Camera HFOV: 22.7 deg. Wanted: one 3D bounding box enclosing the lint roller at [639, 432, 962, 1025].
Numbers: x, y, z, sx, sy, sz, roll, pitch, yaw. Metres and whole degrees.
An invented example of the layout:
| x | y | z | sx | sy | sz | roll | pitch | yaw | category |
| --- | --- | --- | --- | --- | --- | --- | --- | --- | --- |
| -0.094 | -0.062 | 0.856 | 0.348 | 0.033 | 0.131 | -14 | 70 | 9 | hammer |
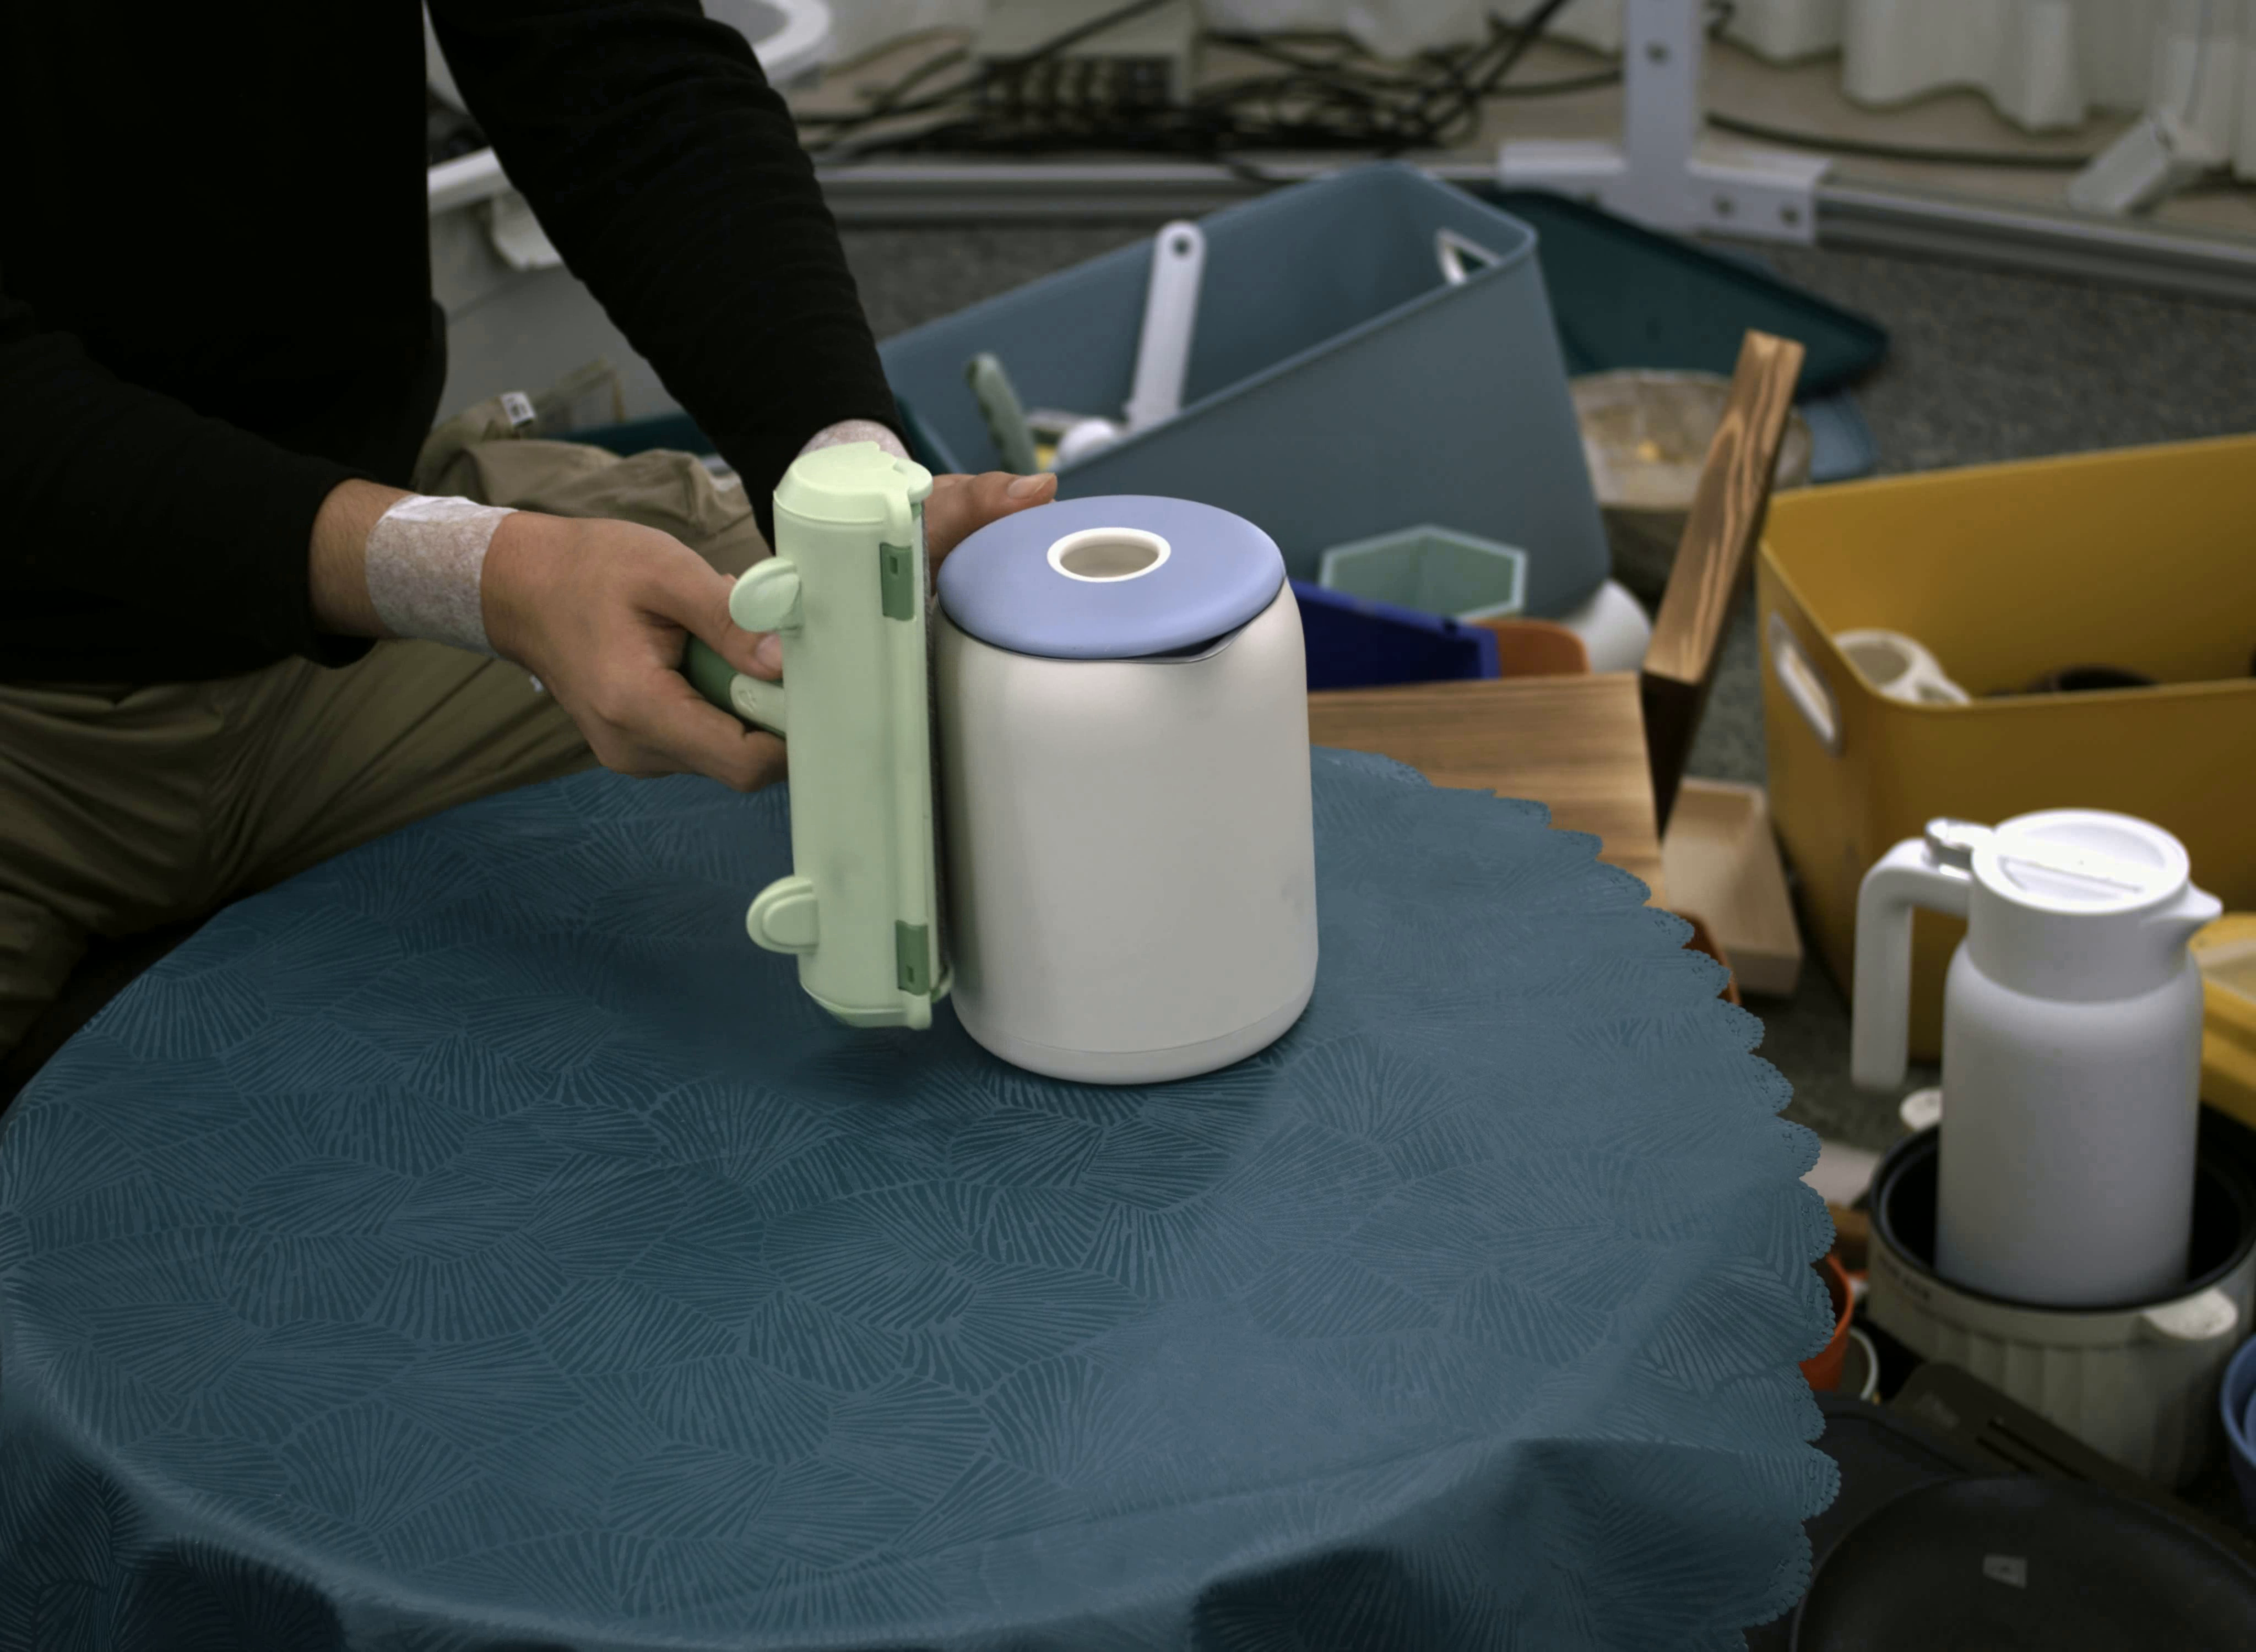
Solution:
| x | y | z | sx | sy | sz | roll | pitch | yaw | category |
| --- | --- | --- | --- | --- | --- | --- | --- | --- | --- |
| -0.131 | -0.044 | 1.932 | 0.083 | 0.197 | 0.183 | -20 | 28 | -39 | lint roller |

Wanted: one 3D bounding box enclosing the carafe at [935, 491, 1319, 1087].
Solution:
| x | y | z | sx | sy | sz | roll | pitch | yaw | category |
| --- | --- | --- | --- | --- | --- | --- | --- | --- | --- |
| -0.014 | -0.022 | 1.957 | 0.133 | 0.181 | 0.192 | -15 | 27 | -25 | carafe |
